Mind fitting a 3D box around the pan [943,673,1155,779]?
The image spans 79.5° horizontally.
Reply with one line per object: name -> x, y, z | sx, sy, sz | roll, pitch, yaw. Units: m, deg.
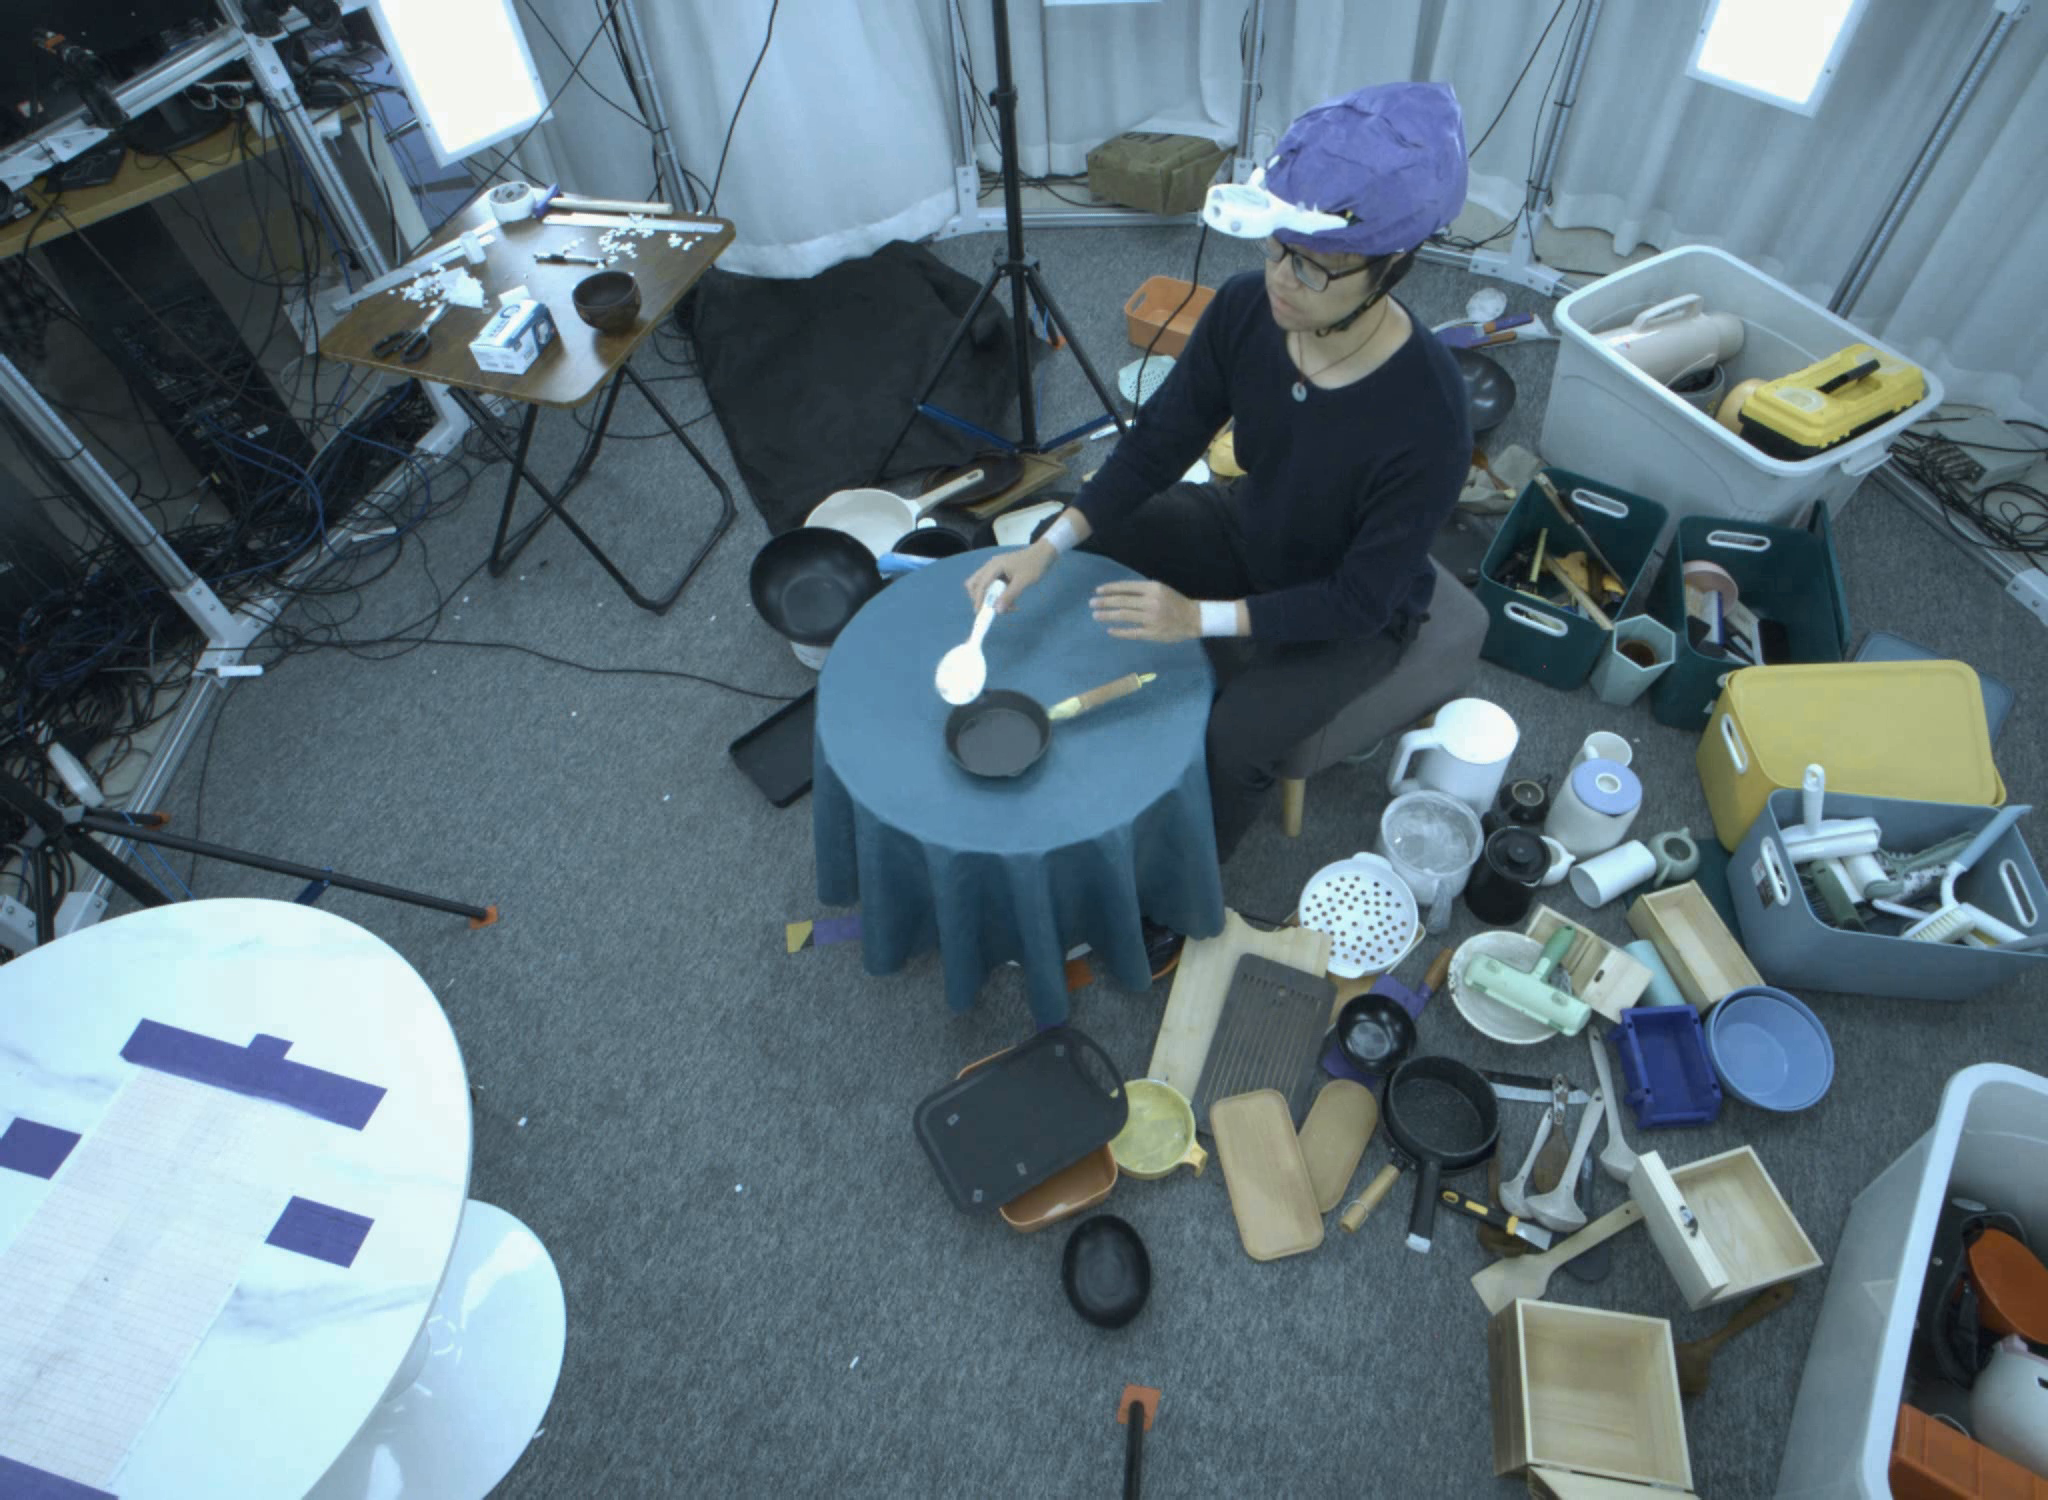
pan -> 0.041, -0.049, 1.789 | 0.326, 0.050, 0.166 | -18, 56, -8

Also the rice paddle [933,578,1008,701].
rice paddle -> -0.075, -0.162, 1.812 | 0.069, 0.029, 0.205 | 24, 70, -1
